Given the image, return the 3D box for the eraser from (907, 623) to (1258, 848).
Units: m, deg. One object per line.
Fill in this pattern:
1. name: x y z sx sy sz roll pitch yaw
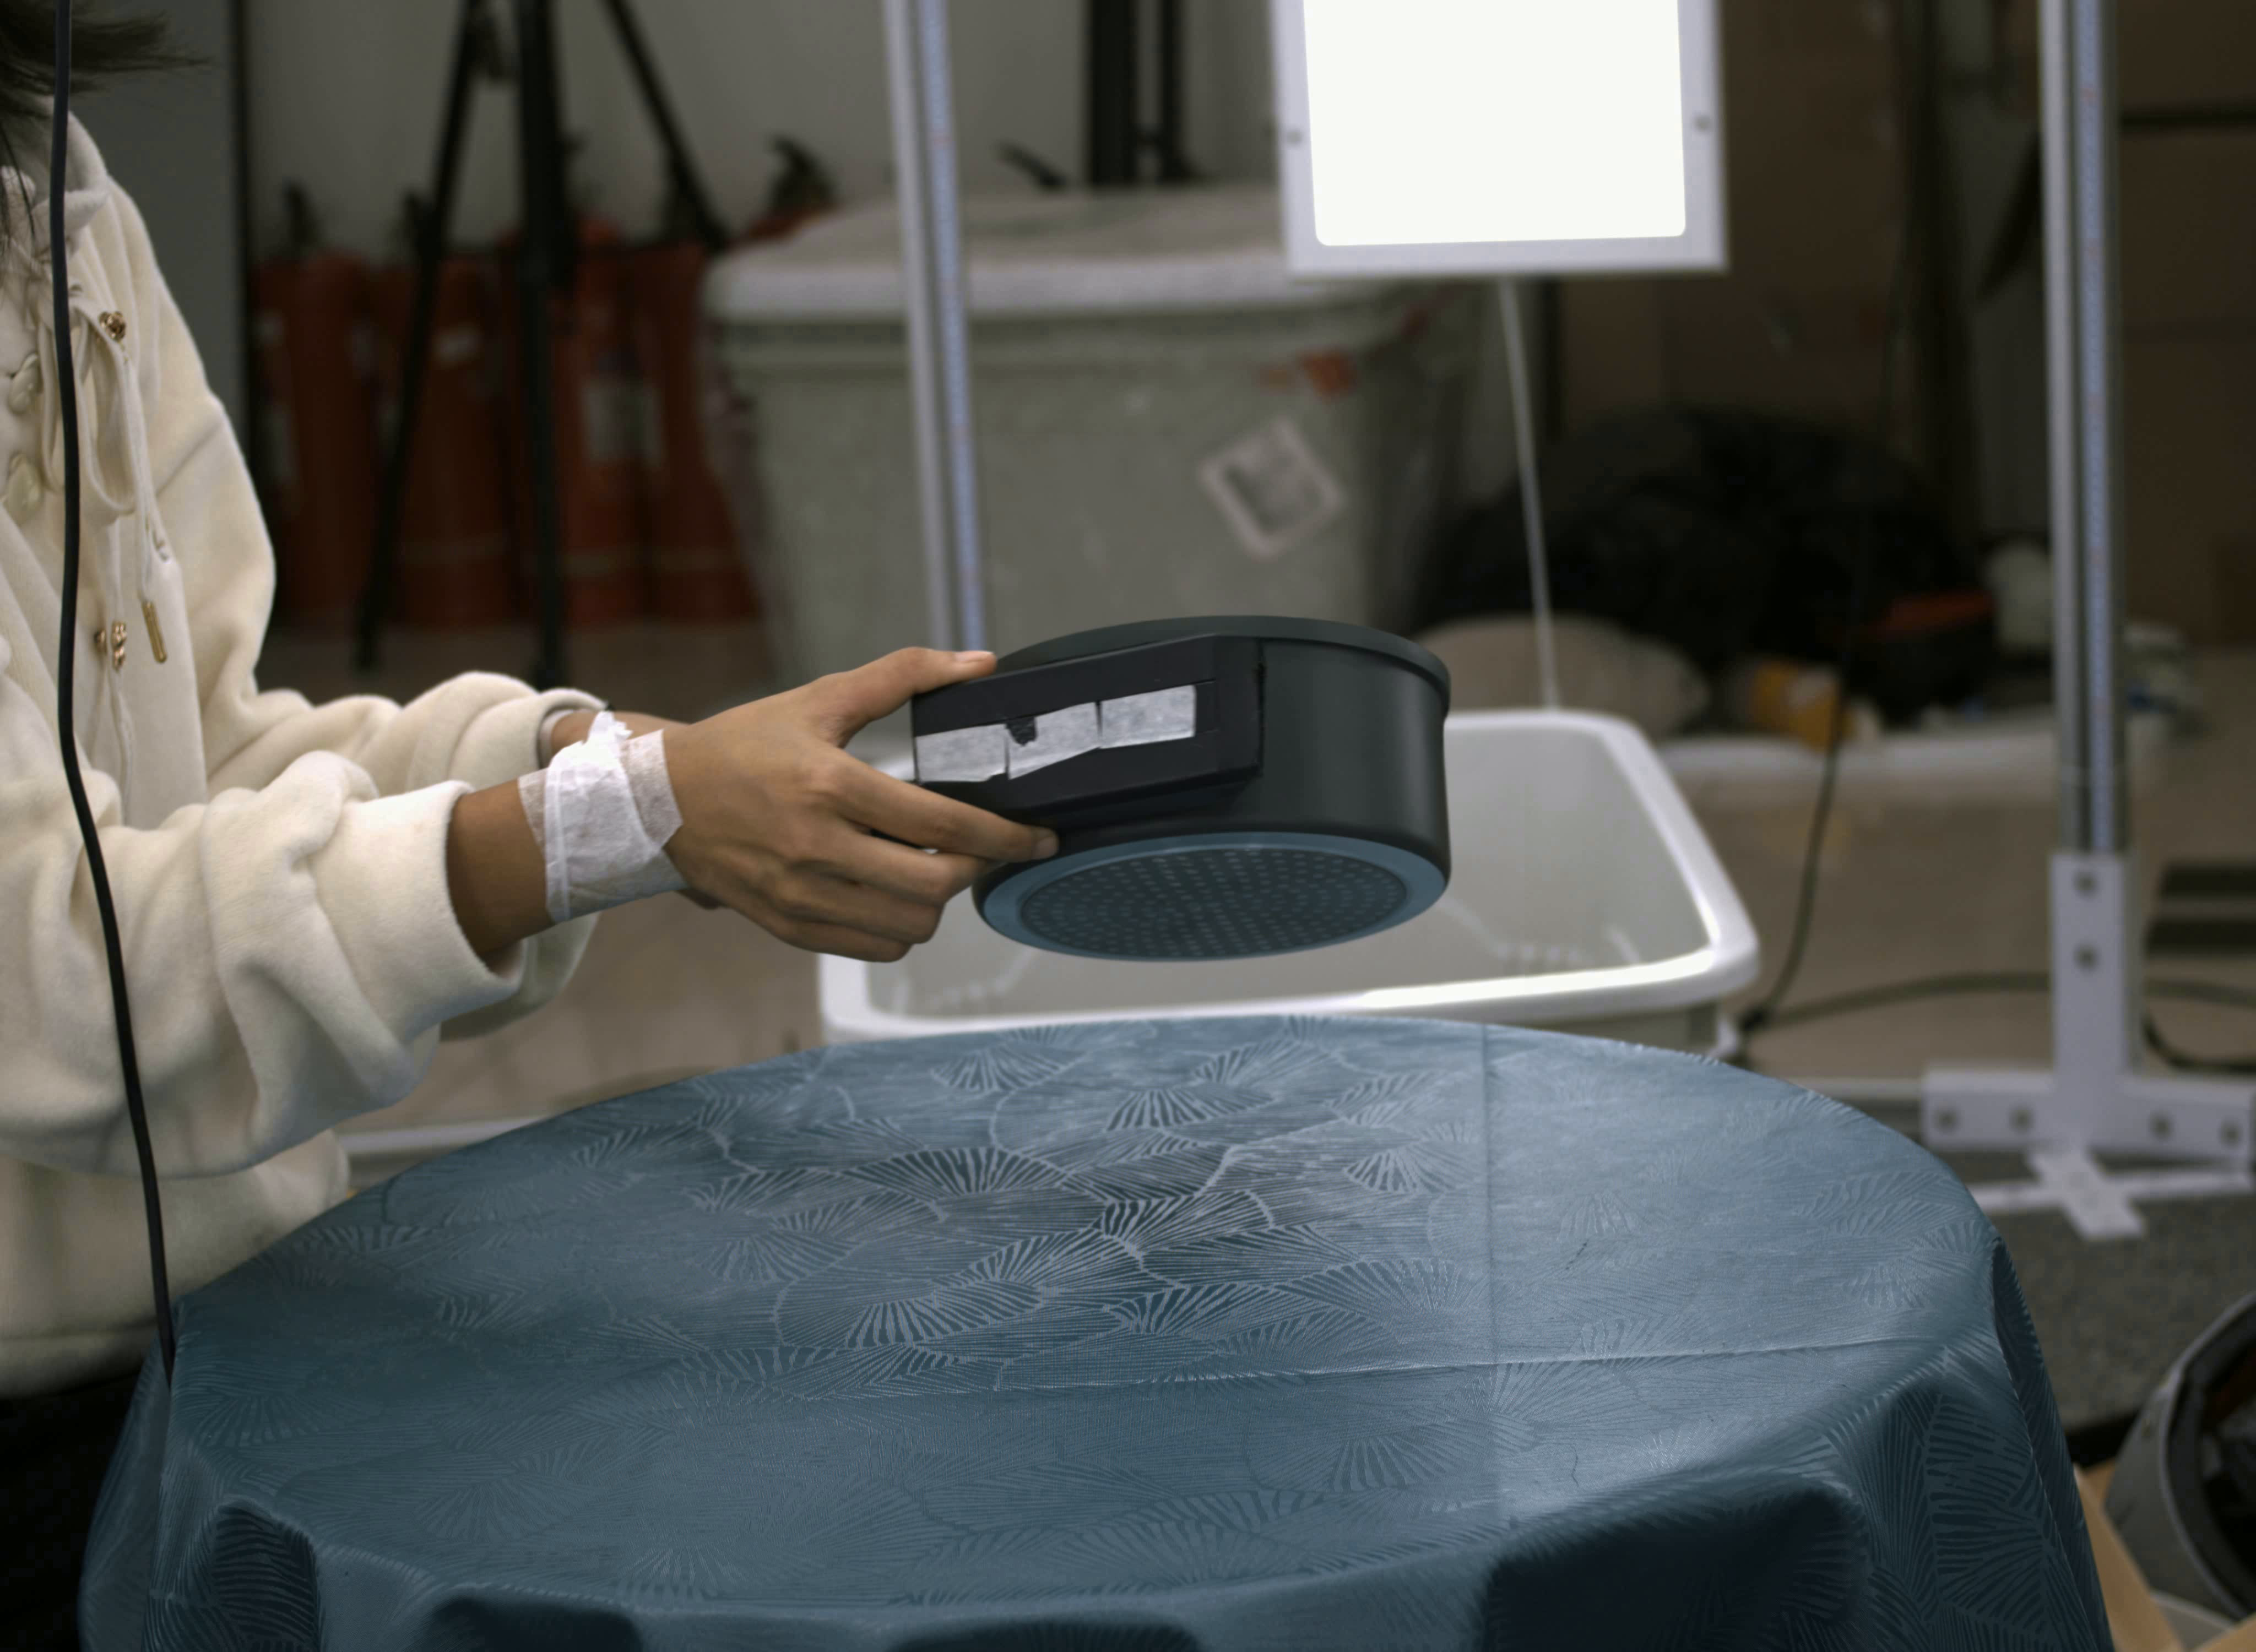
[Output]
1. eraser: -0.015 -0.029 1.787 0.128 0.053 0.030 -11 -16 35

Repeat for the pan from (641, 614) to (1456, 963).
1. pan: -0.037 0.003 1.916 0.336 0.086 0.168 -12 -20 34
